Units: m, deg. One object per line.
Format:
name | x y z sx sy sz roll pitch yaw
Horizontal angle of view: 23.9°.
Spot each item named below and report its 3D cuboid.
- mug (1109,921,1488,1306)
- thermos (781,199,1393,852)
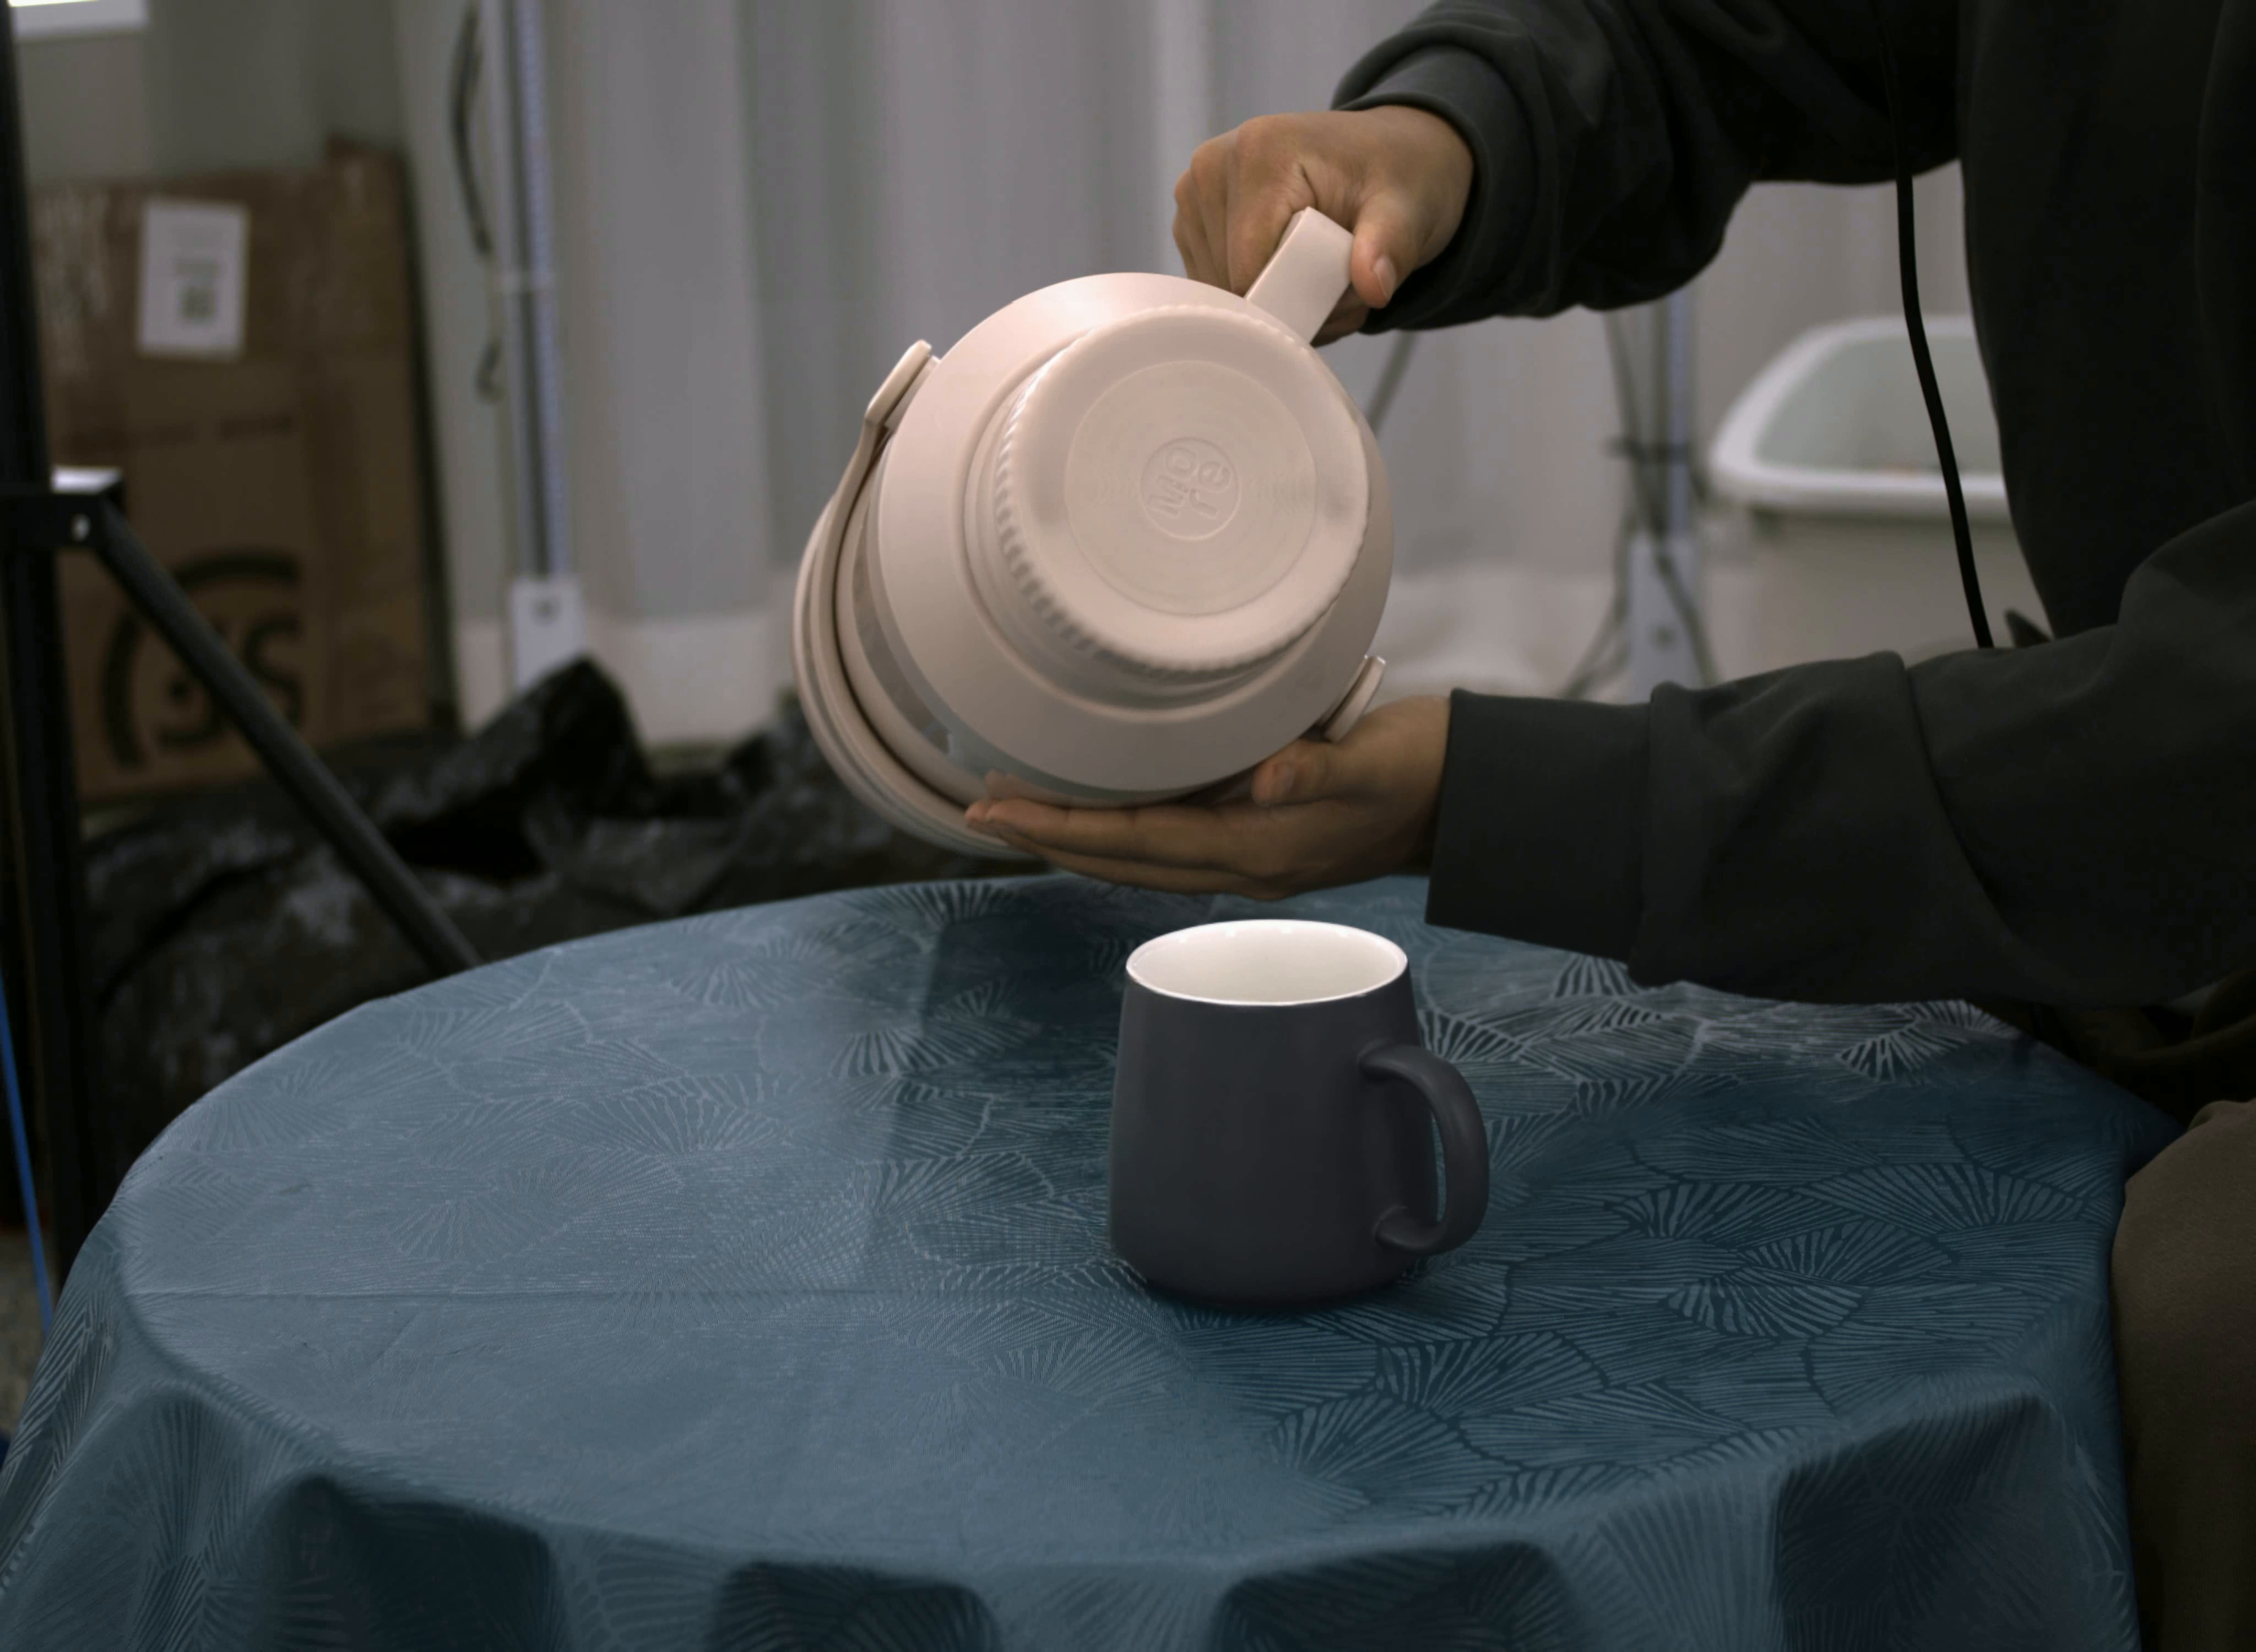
mug | 0.051 0.083 1.472 0.091 0.090 0.126 -15 20 -40
thermos | -0.004 -0.094 1.681 0.174 0.207 0.408 34 -8 -4
